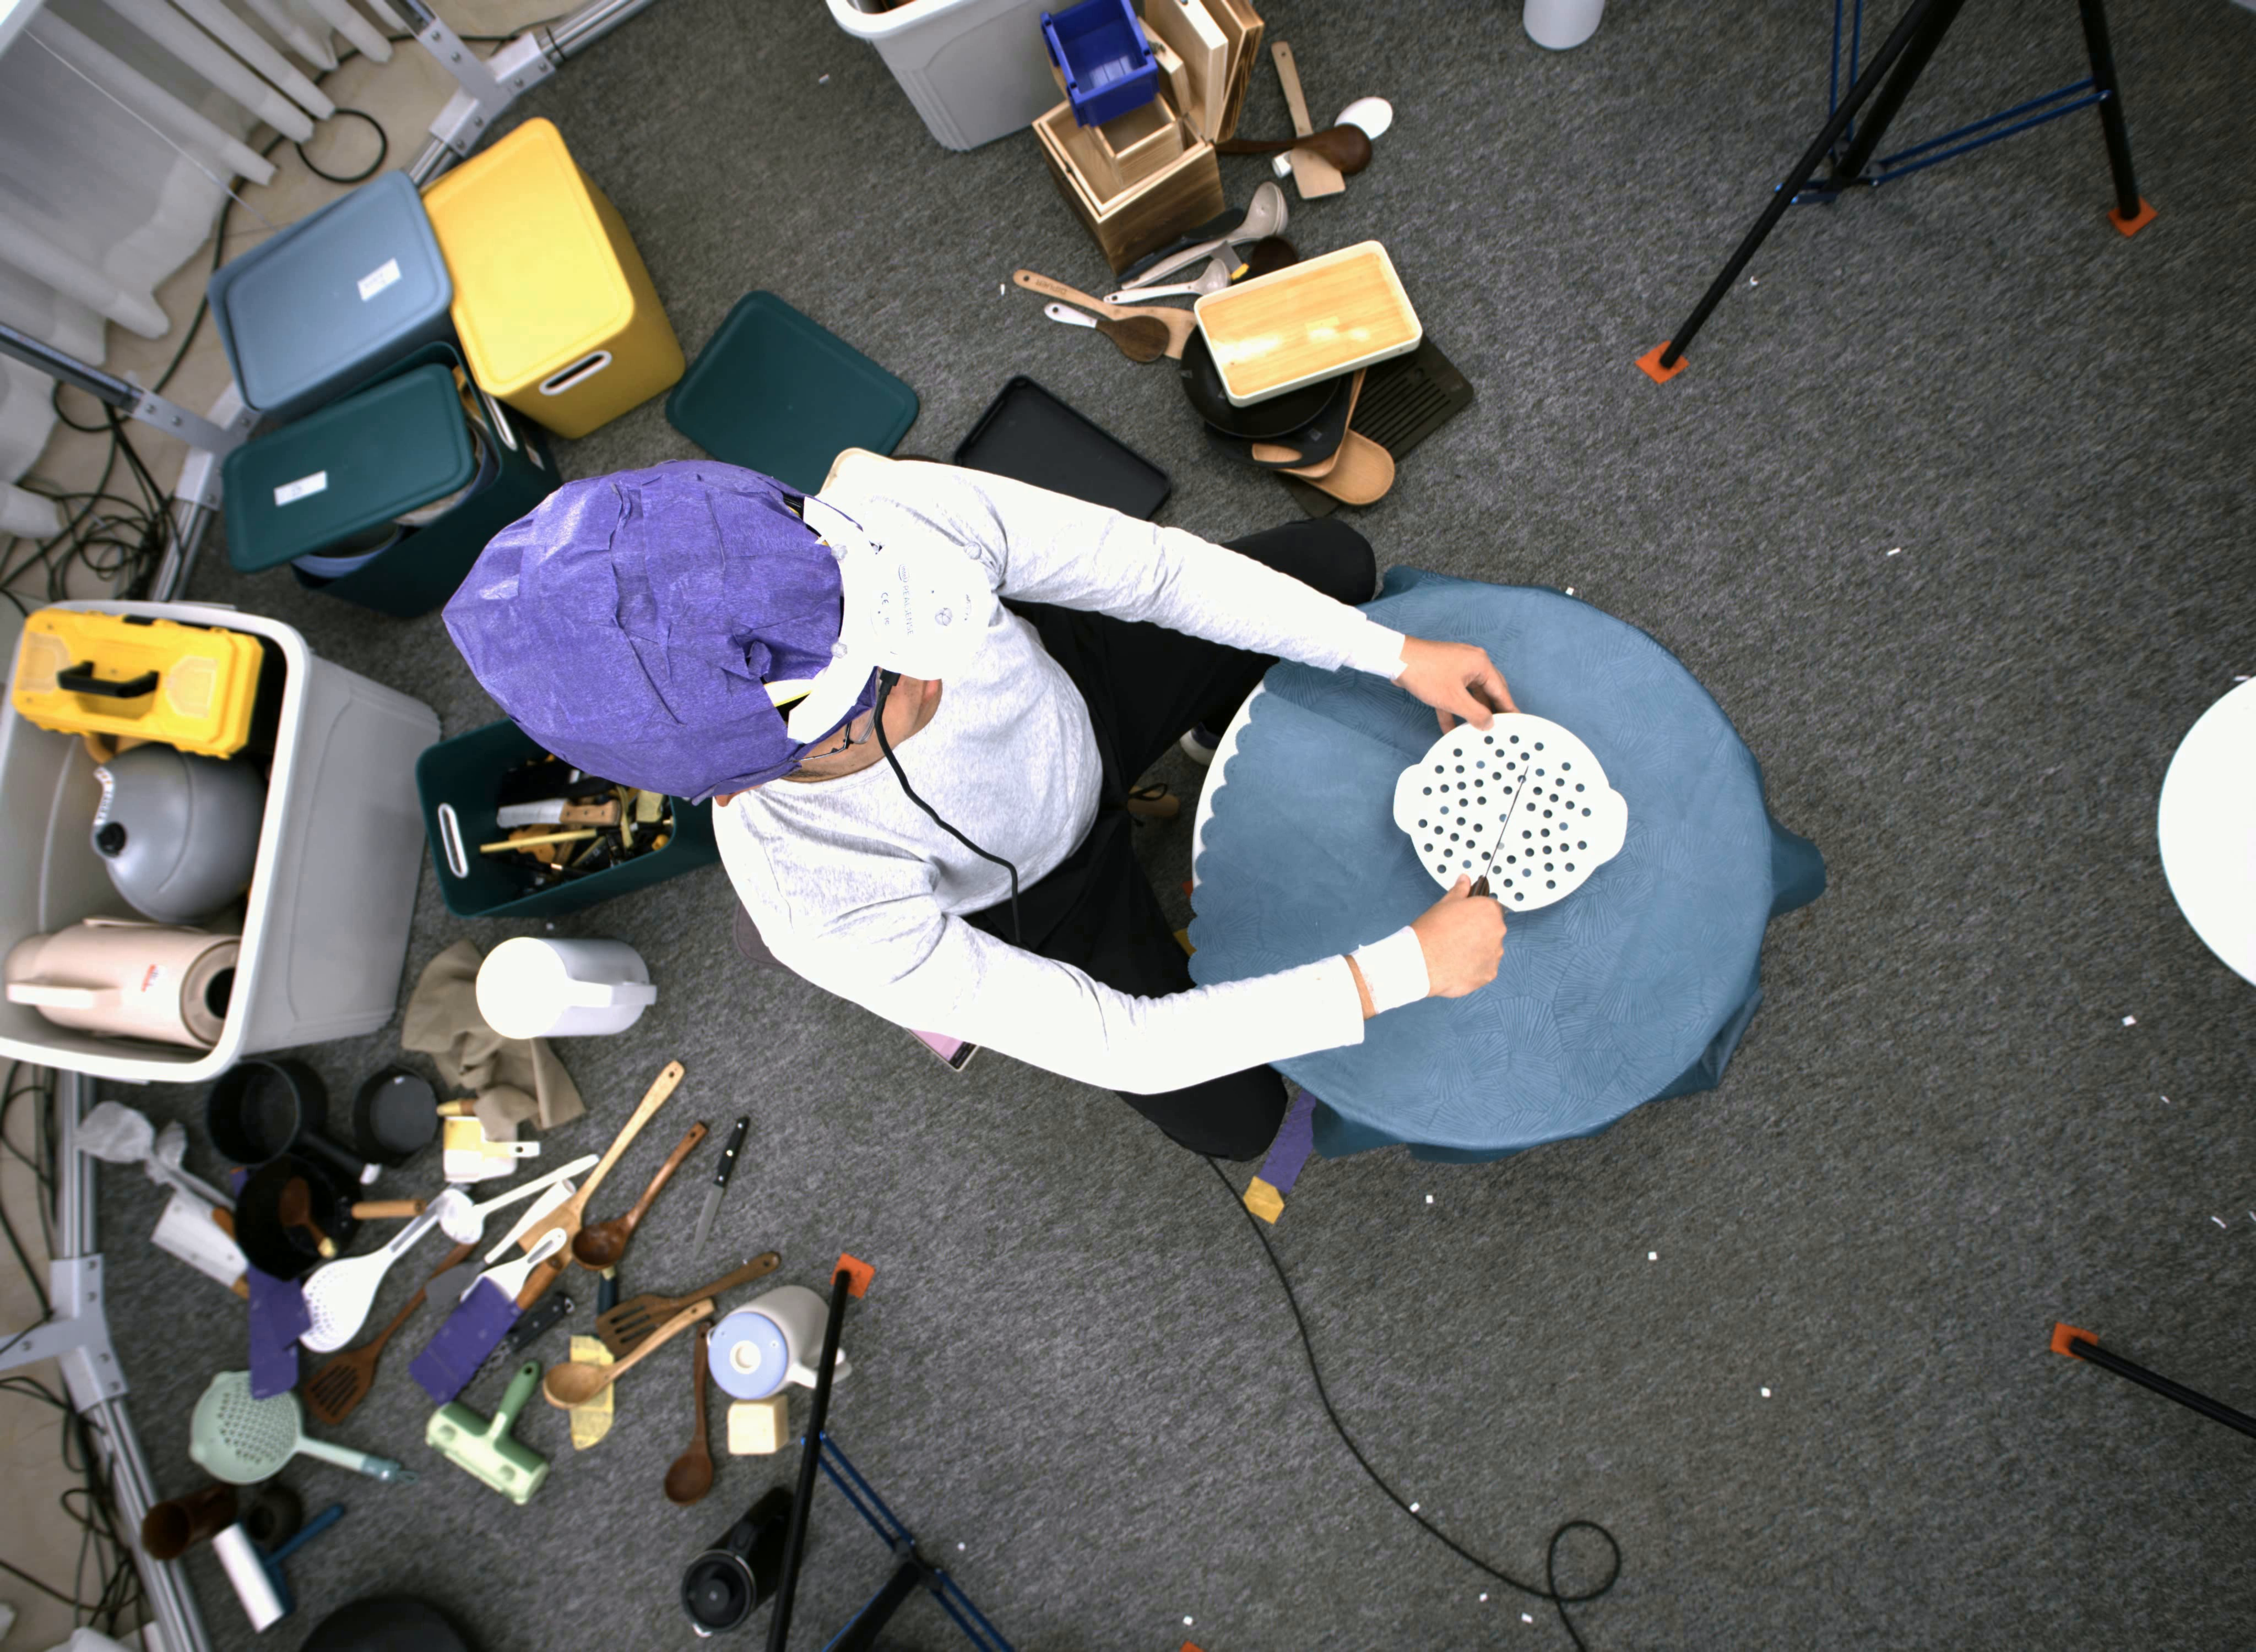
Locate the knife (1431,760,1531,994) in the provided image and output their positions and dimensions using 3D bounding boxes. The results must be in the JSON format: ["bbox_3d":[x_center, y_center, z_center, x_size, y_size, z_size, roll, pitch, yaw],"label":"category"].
[{"bbox_3d":[0.343,0.041,1.312,0.020,0.051,0.283,24,62,10],"label":"knife"}]

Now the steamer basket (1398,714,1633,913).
[{"bbox_3d":[0.393,-0.013,1.408,0.231,0.069,0.201,8,87,12],"label":"steamer basket"}]
